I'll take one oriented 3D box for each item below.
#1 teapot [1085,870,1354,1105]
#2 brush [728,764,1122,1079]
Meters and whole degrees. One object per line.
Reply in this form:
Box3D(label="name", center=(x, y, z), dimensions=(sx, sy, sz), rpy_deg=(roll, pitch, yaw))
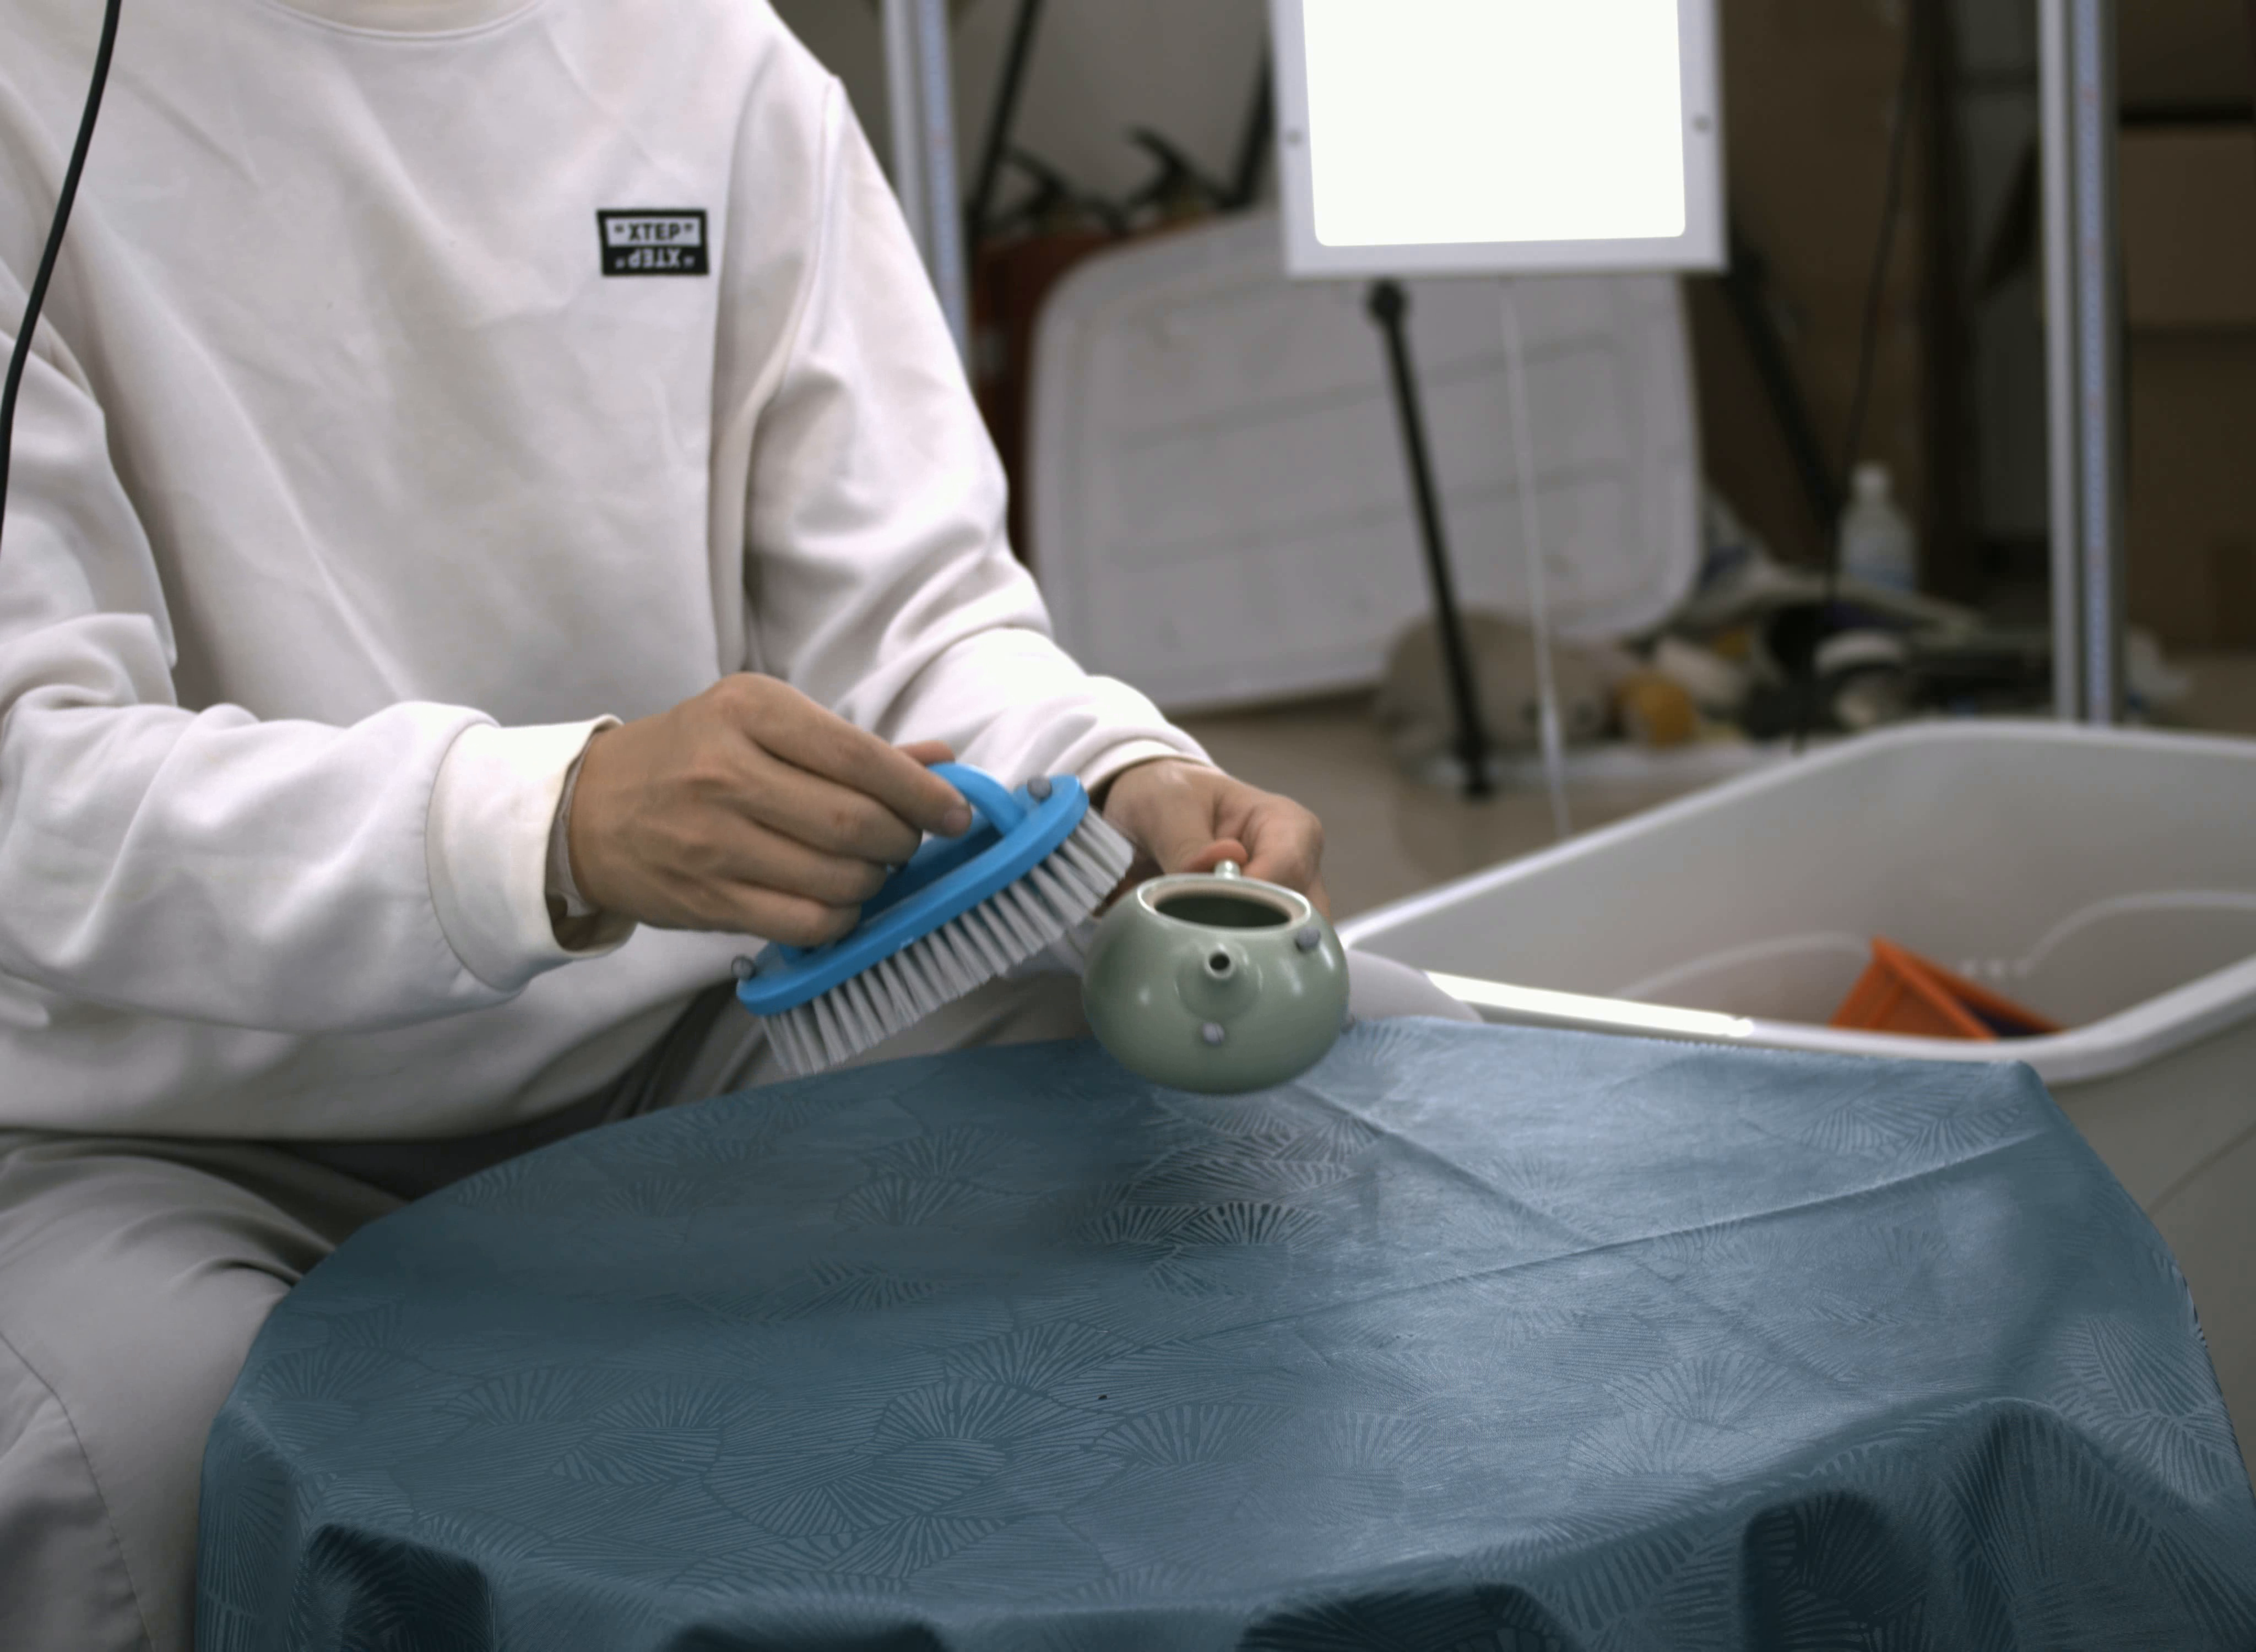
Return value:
Box3D(label="teapot", center=(0.032, 0.054, 1.869), dimensions=(0.092, 0.061, 0.127), rpy_deg=(4, 17, 7))
Box3D(label="brush", center=(-0.075, 0.022, 1.826), dimensions=(0.143, 0.063, 0.084), rpy_deg=(-30, 21, 18))
